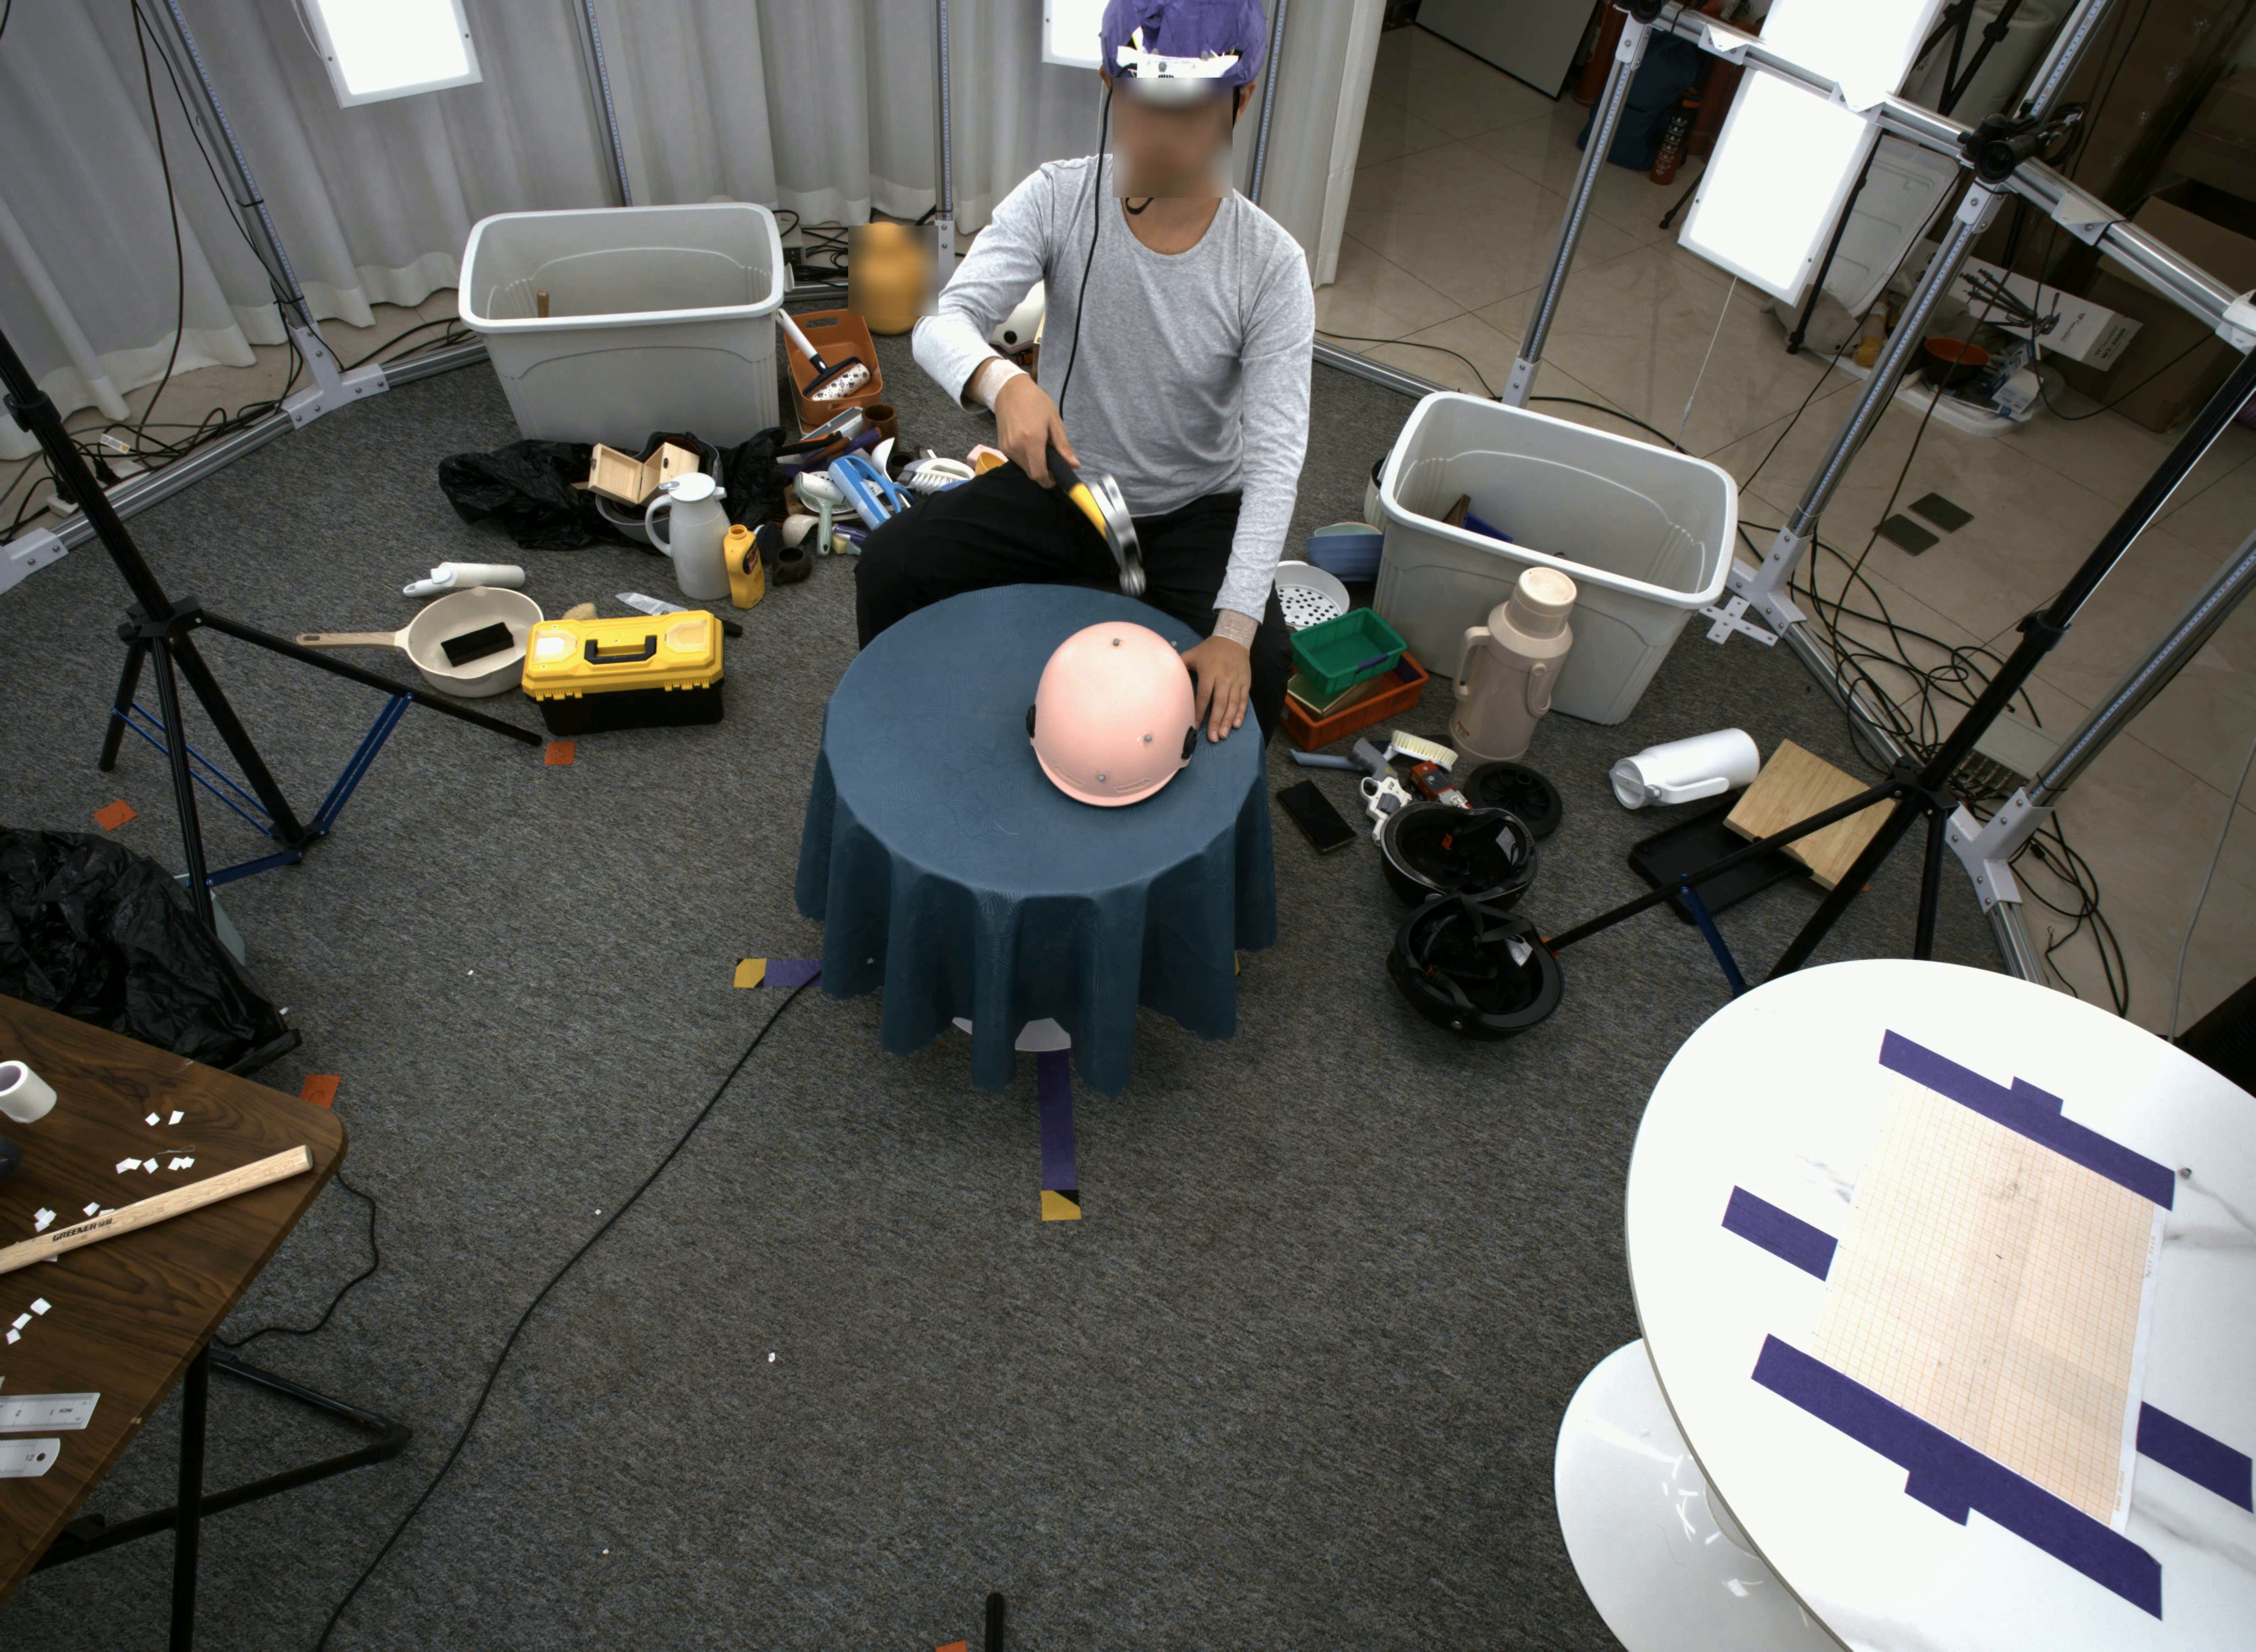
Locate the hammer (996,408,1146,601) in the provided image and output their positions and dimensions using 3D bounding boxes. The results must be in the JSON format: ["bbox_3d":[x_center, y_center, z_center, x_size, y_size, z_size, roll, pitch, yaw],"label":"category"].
[{"bbox_3d":[-0.077,-0.419,1.590,0.032,0.128,0.346,-28,53,-11],"label":"hammer"}]

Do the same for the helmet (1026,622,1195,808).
[{"bbox_3d":[-0.019,-0.170,1.726,0.234,0.155,0.272,8,53,2],"label":"helmet"}]
